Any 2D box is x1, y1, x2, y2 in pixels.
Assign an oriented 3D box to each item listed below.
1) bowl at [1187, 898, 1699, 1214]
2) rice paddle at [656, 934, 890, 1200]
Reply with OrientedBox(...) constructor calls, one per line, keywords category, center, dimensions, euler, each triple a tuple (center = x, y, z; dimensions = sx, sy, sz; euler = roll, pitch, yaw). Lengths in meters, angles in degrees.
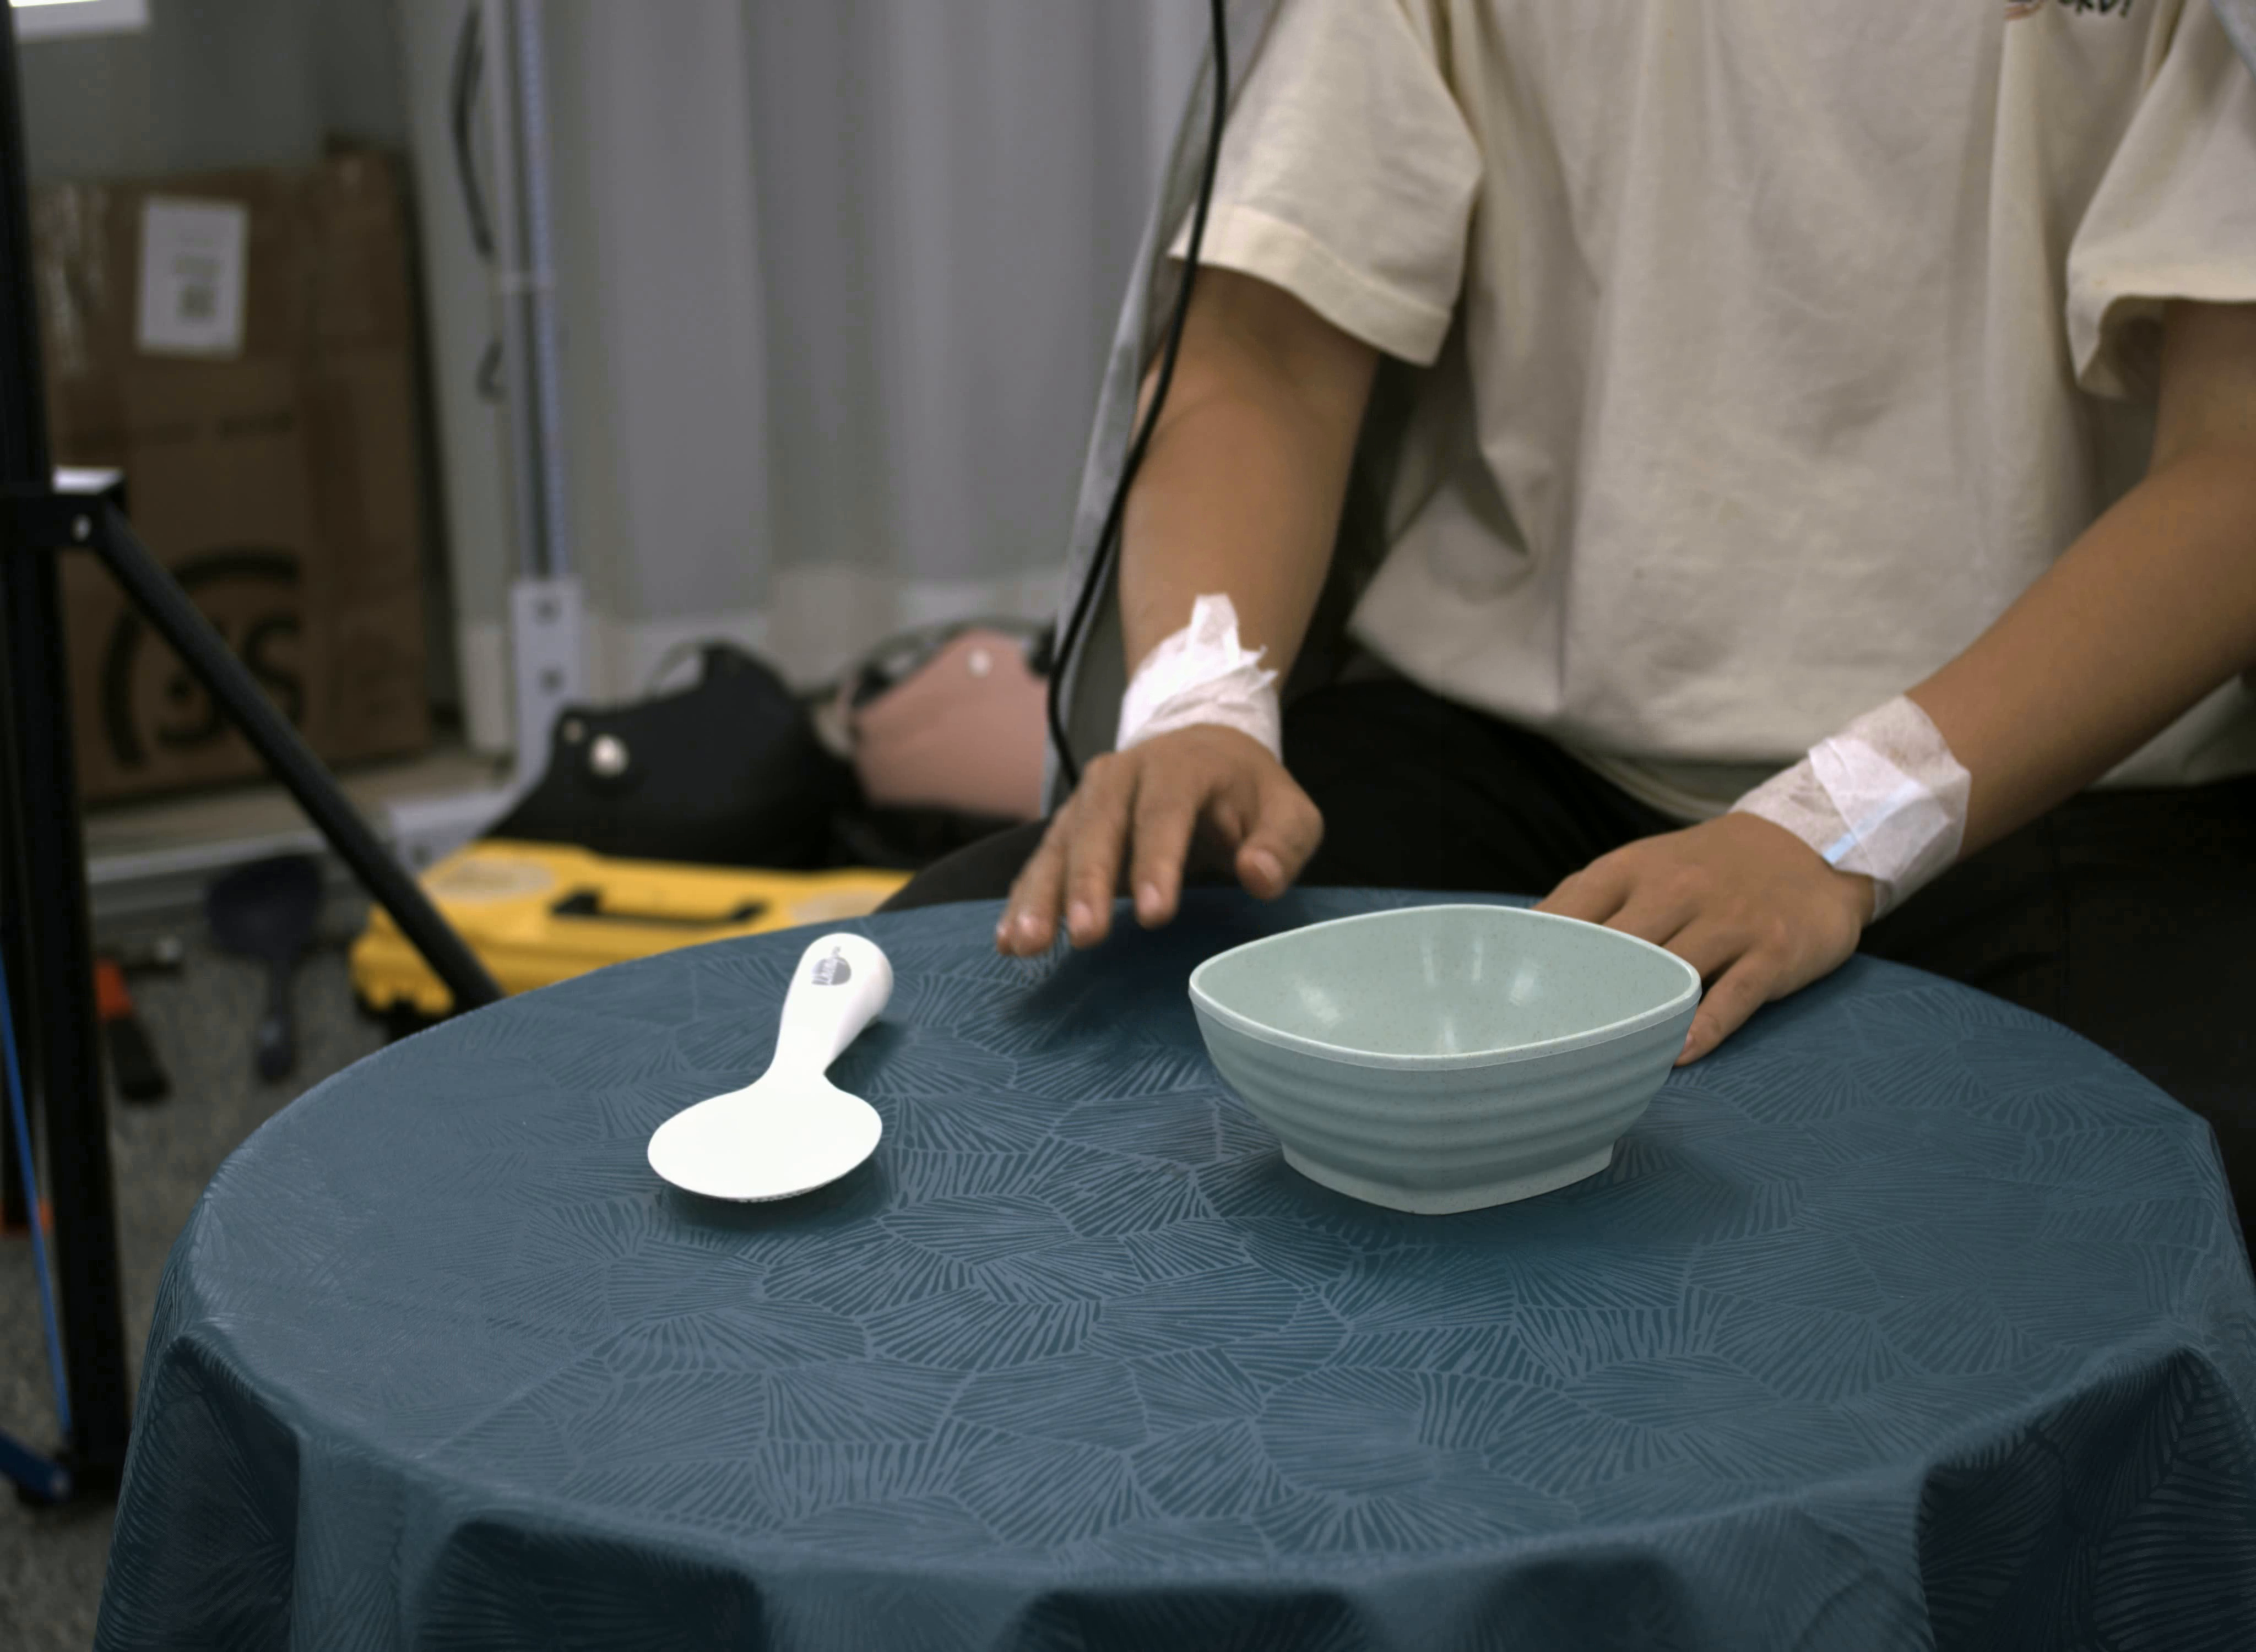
OrientedBox(category="bowl", center=(0.094, 0.071, 1.561), dimensions=(0.151, 0.058, 0.152), euler=(-6, 15, 0))
OrientedBox(category="rice paddle", center=(-0.100, 0.076, 1.630), dimensions=(0.069, 0.029, 0.205), euler=(-3, 15, 6))
